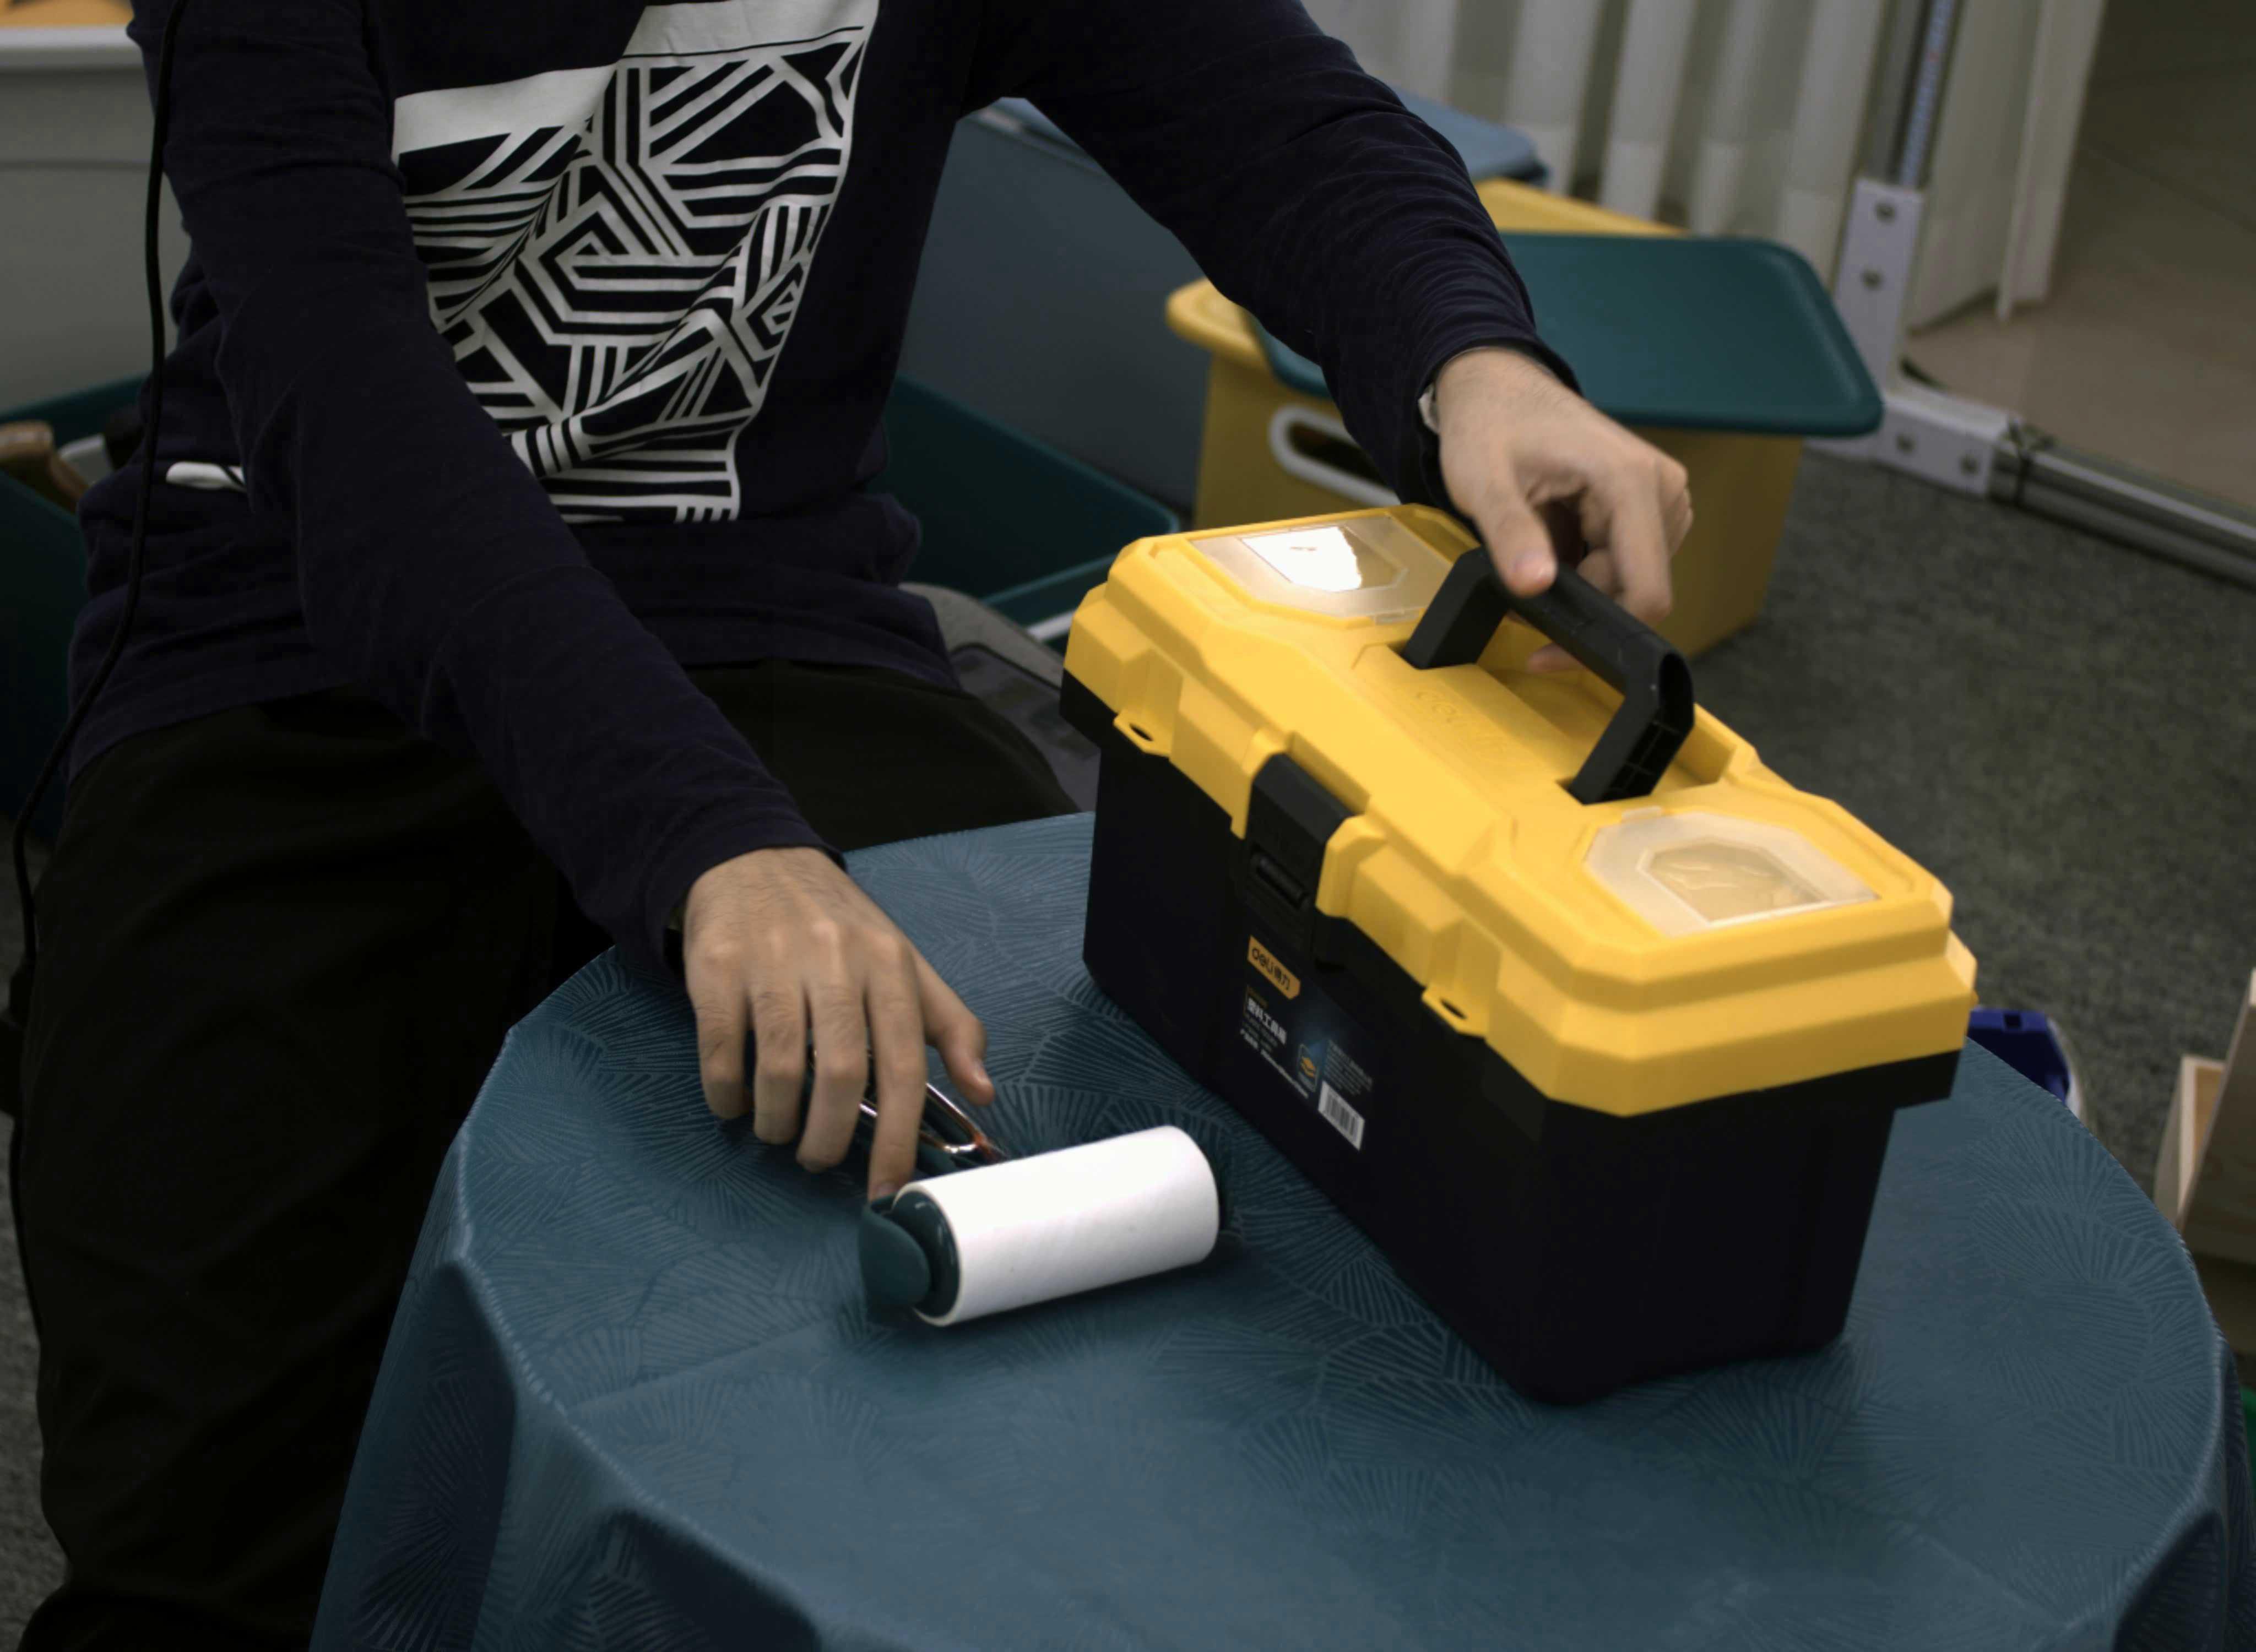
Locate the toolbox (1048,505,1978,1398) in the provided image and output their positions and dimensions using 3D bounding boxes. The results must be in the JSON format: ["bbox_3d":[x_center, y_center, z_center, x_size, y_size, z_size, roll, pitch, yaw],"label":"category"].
[{"bbox_3d":[0.118,0.036,1.814,0.180,0.172,0.355,-8,30,-29],"label":"toolbox"}]

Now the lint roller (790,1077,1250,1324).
[{"bbox_3d":[-0.061,0.104,1.786,0.133,0.048,0.181,-12,28,-31],"label":"lint roller"}]
